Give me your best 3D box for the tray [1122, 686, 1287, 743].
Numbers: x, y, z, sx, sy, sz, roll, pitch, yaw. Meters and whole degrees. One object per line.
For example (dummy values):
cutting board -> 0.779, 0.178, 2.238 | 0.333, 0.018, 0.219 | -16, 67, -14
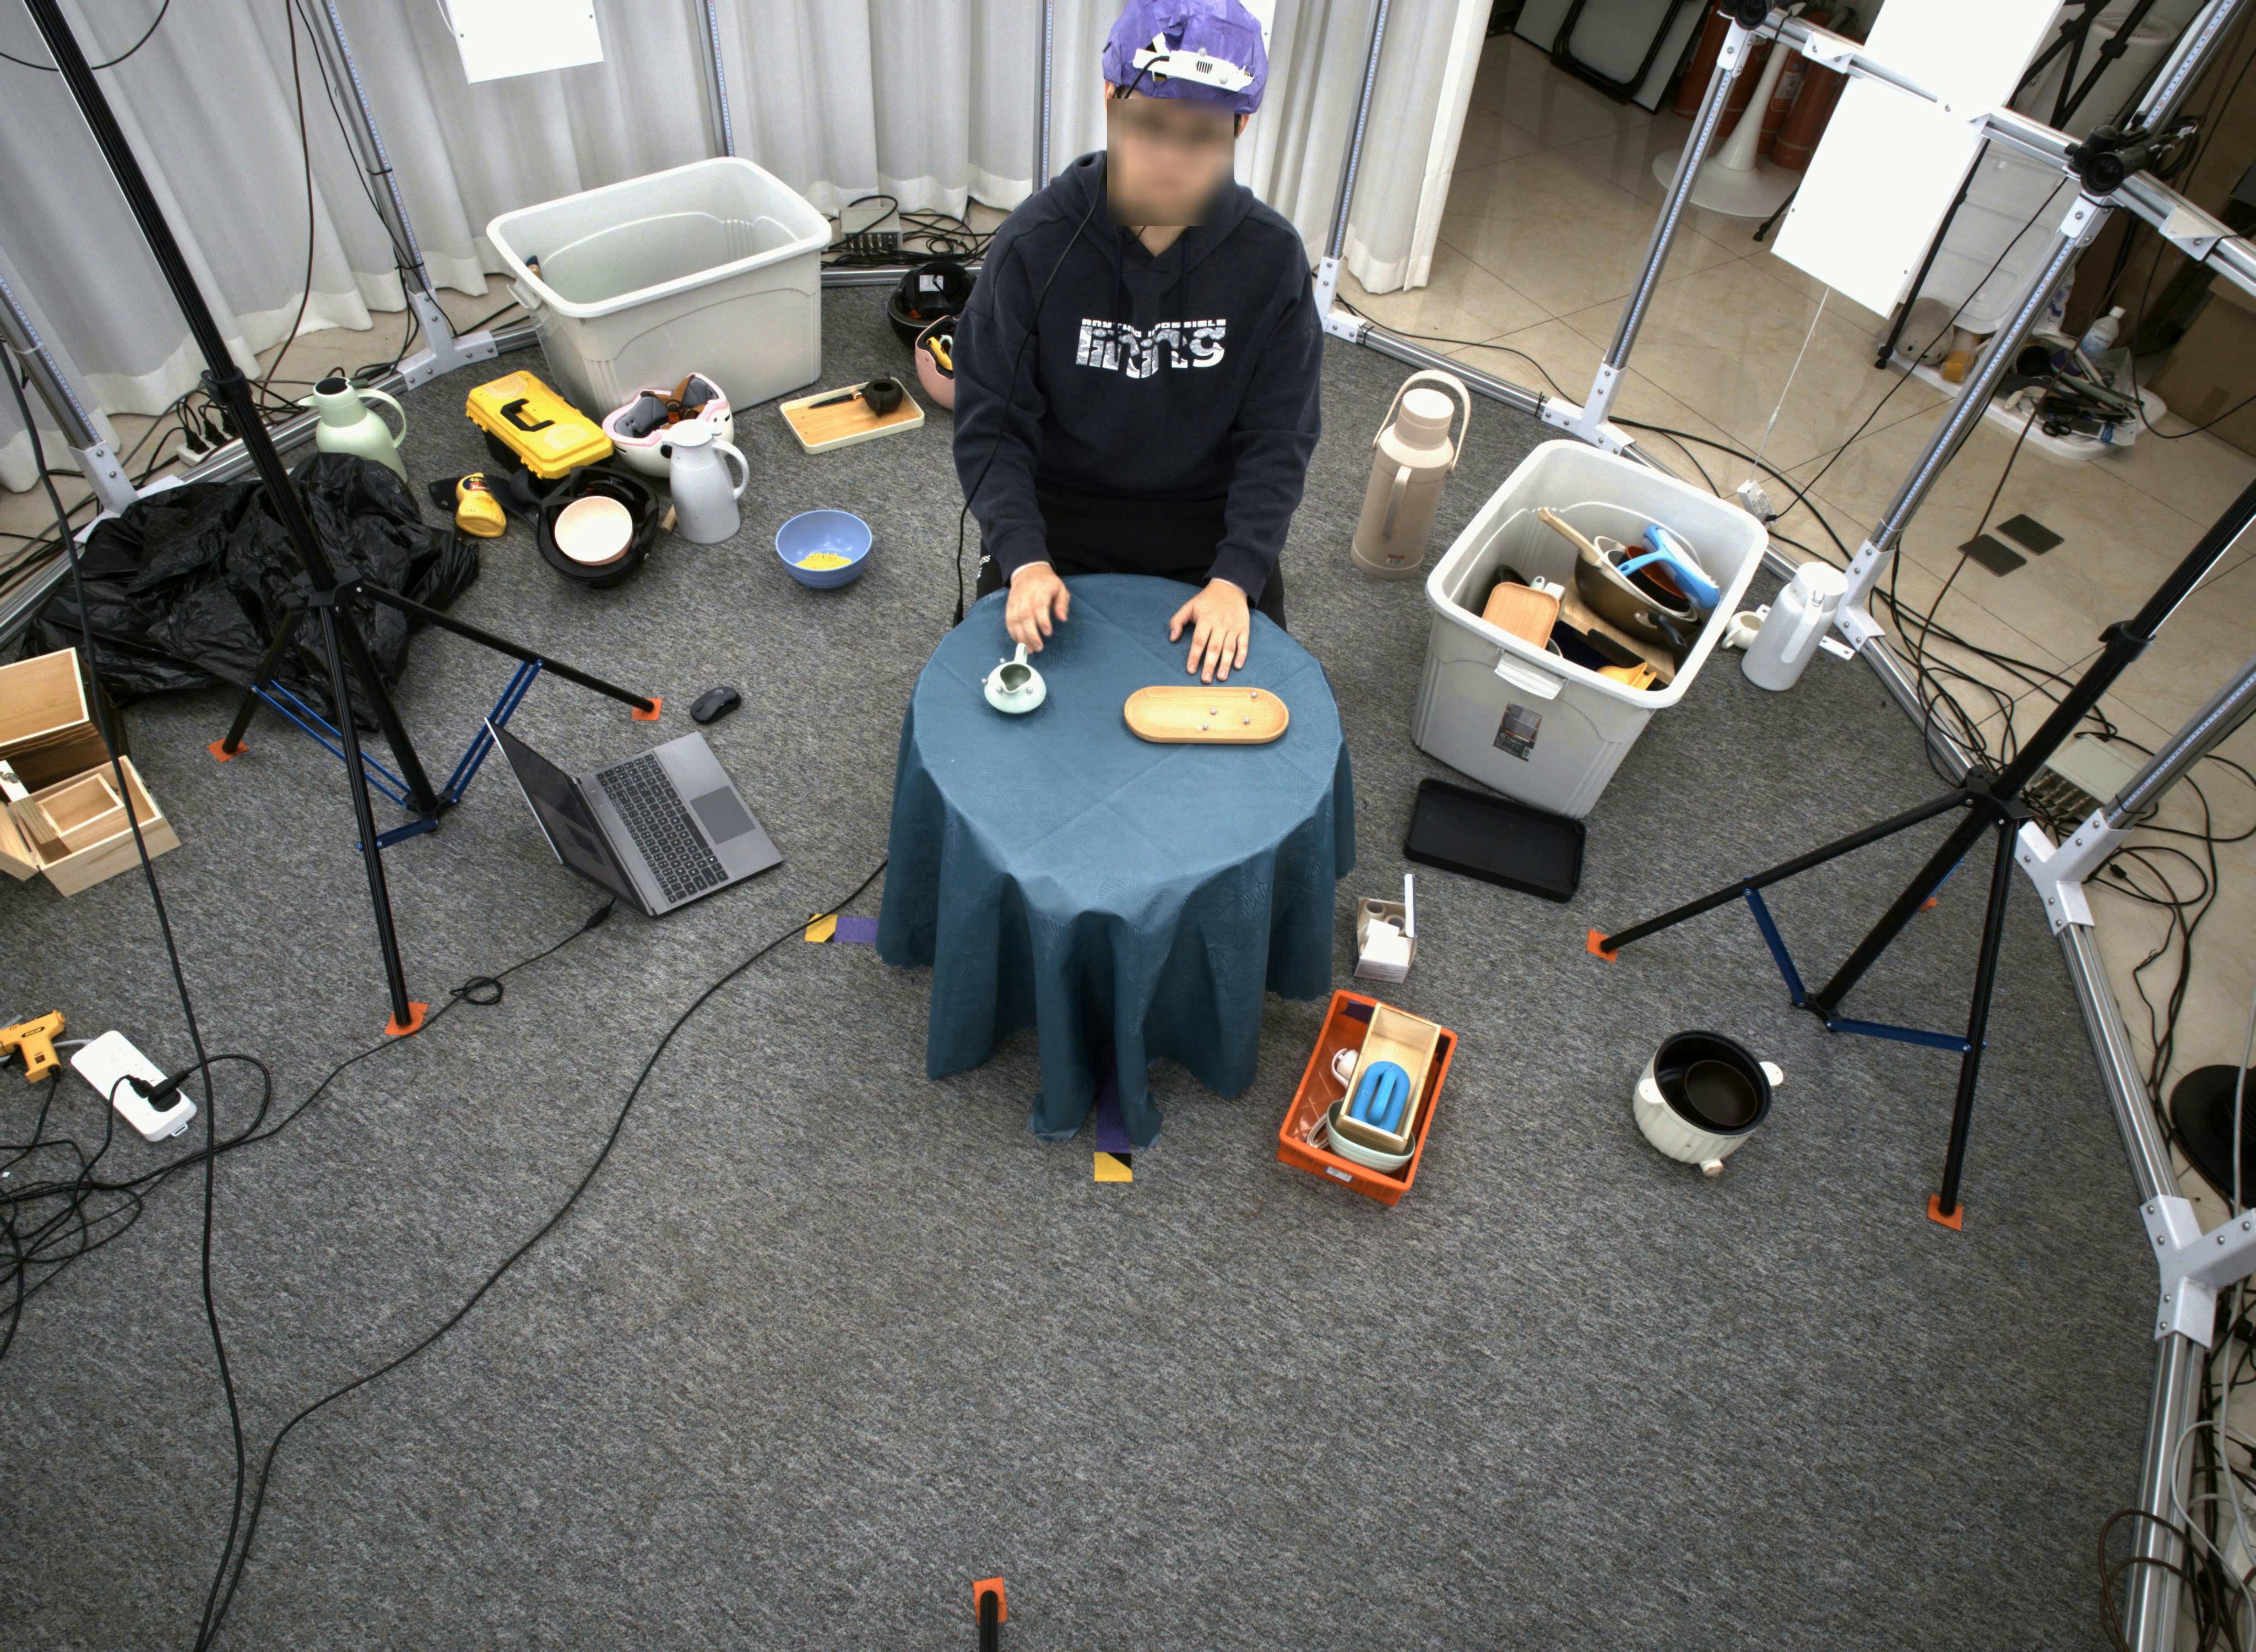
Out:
tray -> 0.107, -0.156, 1.799 | 0.231, 0.020, 0.104 | -1, 48, -3

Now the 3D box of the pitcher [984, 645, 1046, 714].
pitcher -> -0.156, -0.203, 1.794 | 0.086, 0.059, 0.110 | 7, 47, 0
